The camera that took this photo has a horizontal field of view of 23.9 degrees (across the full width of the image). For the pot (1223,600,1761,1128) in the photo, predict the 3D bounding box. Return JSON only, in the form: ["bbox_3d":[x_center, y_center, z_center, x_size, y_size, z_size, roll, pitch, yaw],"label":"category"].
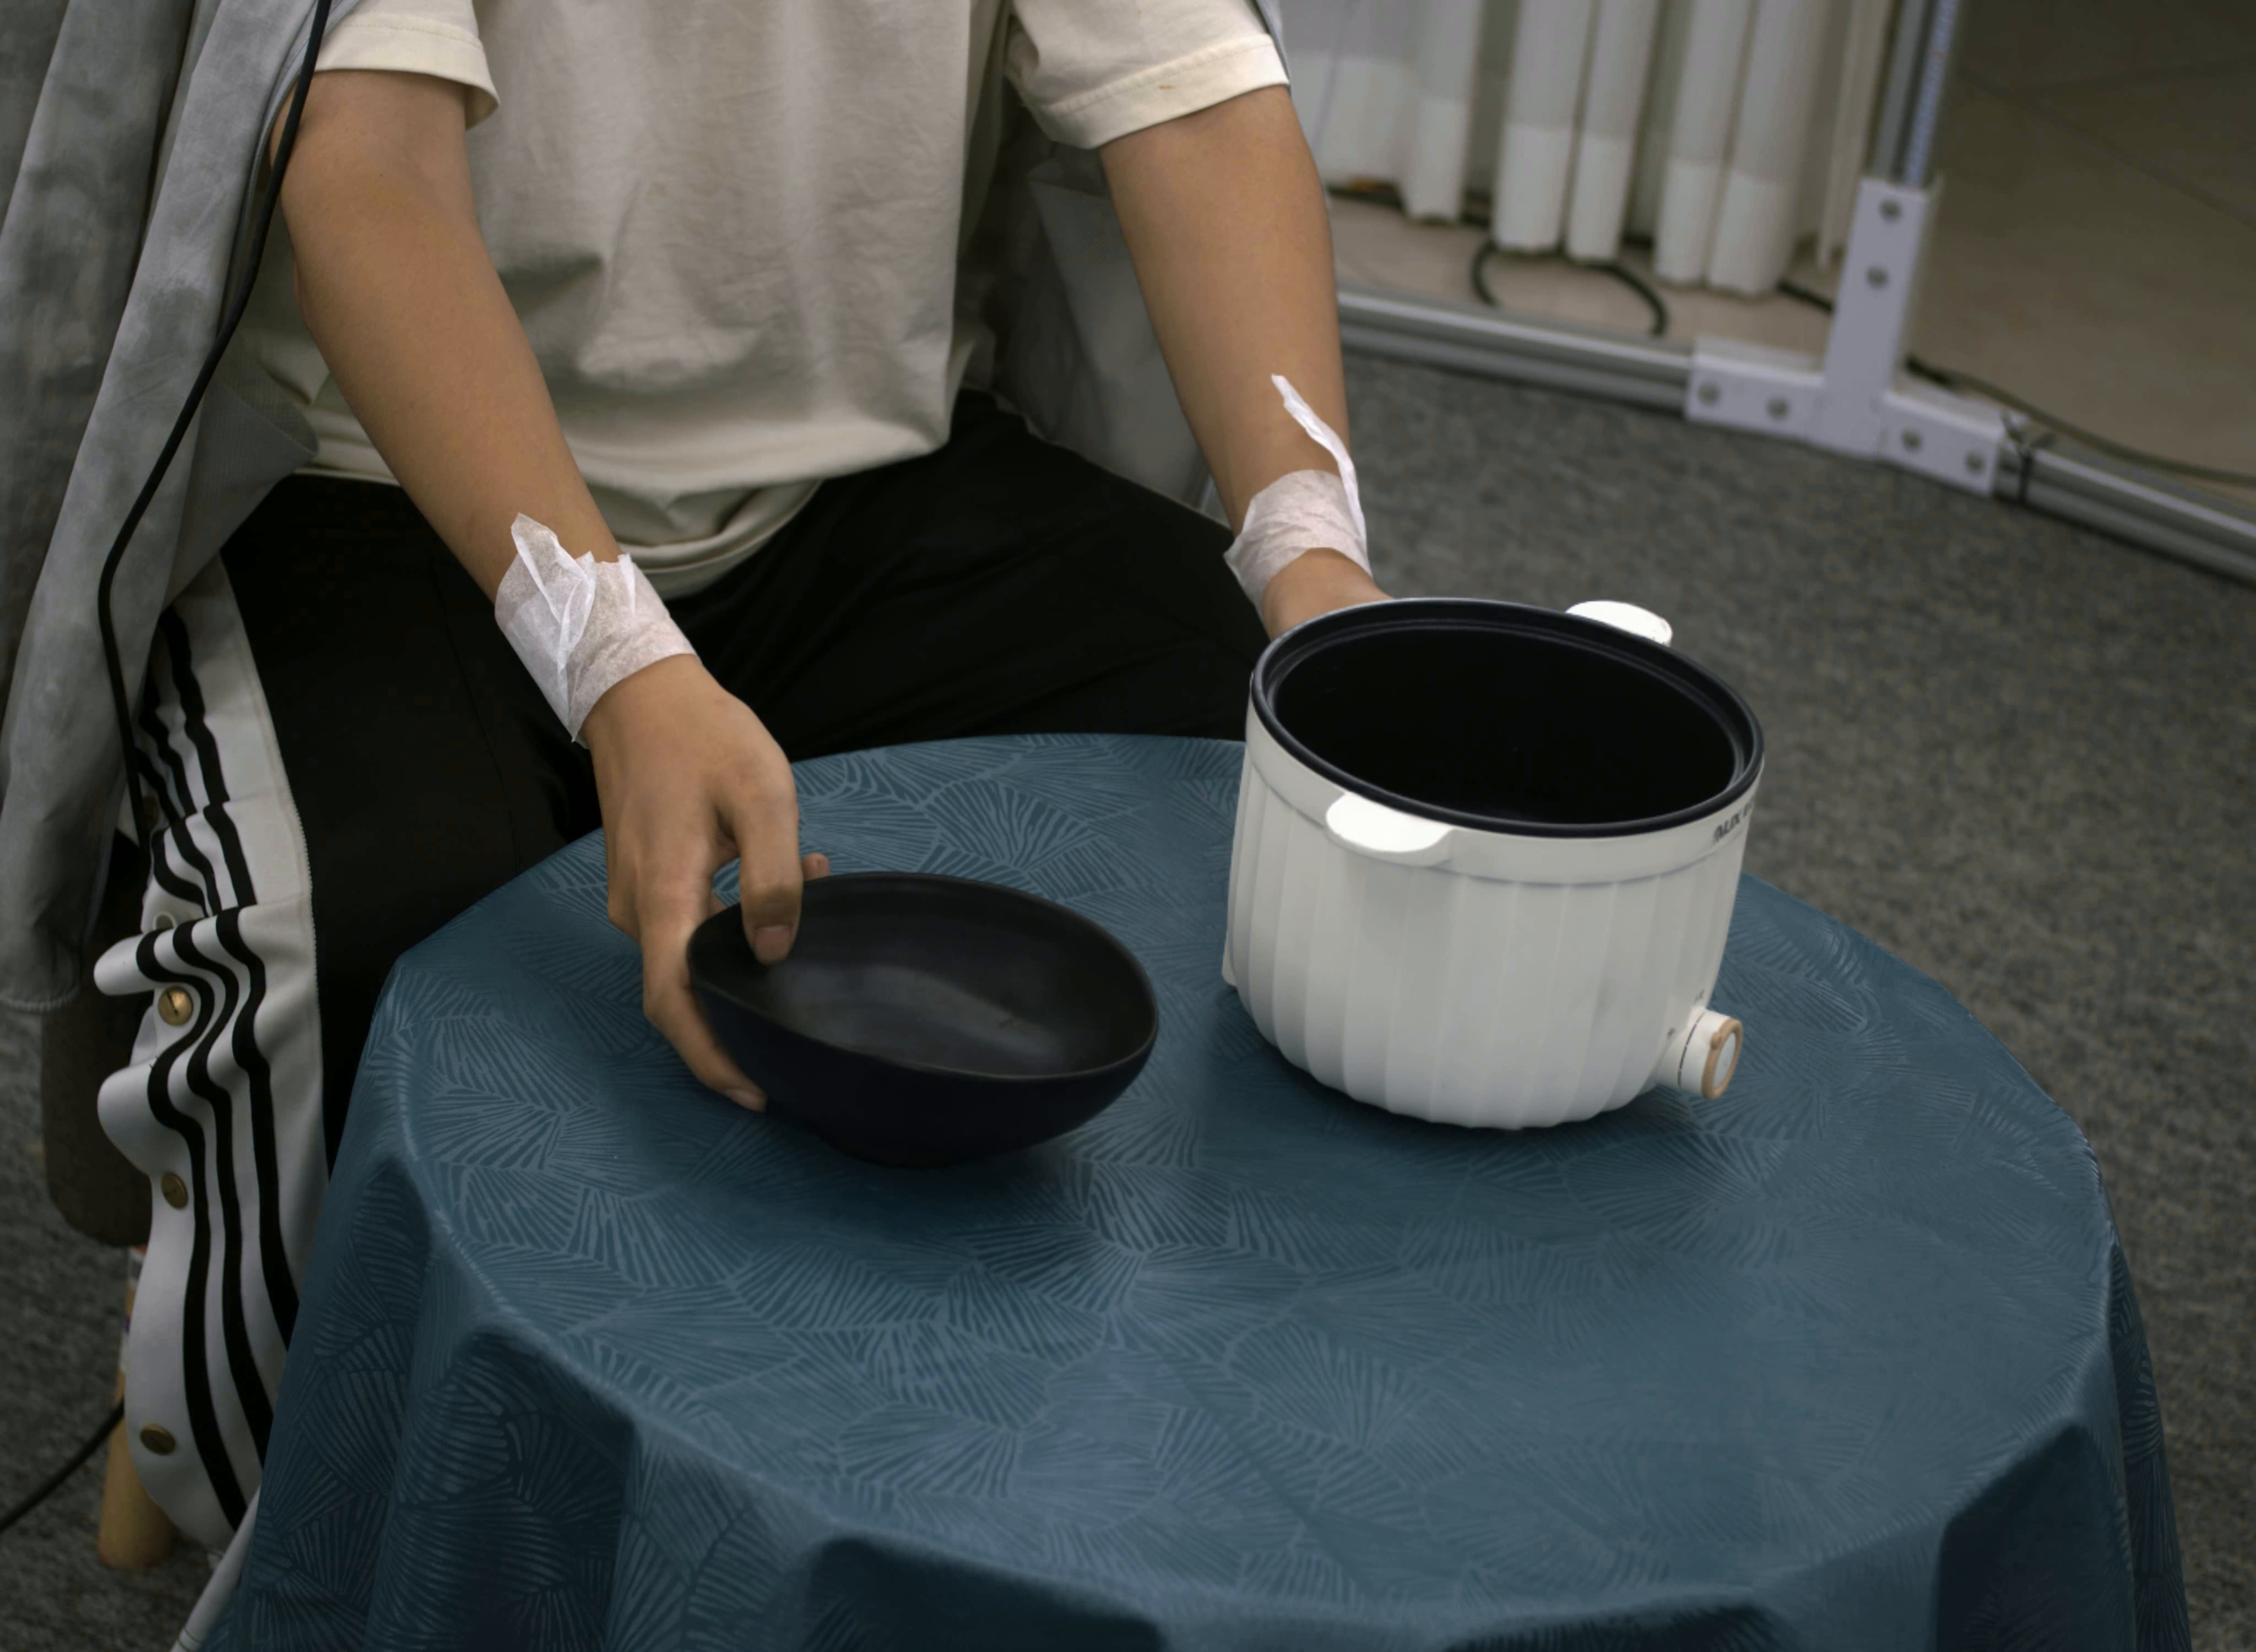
[{"bbox_3d":[0.131,0.019,1.889,0.191,0.142,0.240,15,28,23],"label":"pot"}]

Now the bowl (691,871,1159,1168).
[{"bbox_3d":[-0.073,0.074,1.815,0.171,0.066,0.137,17,28,22],"label":"bowl"}]
